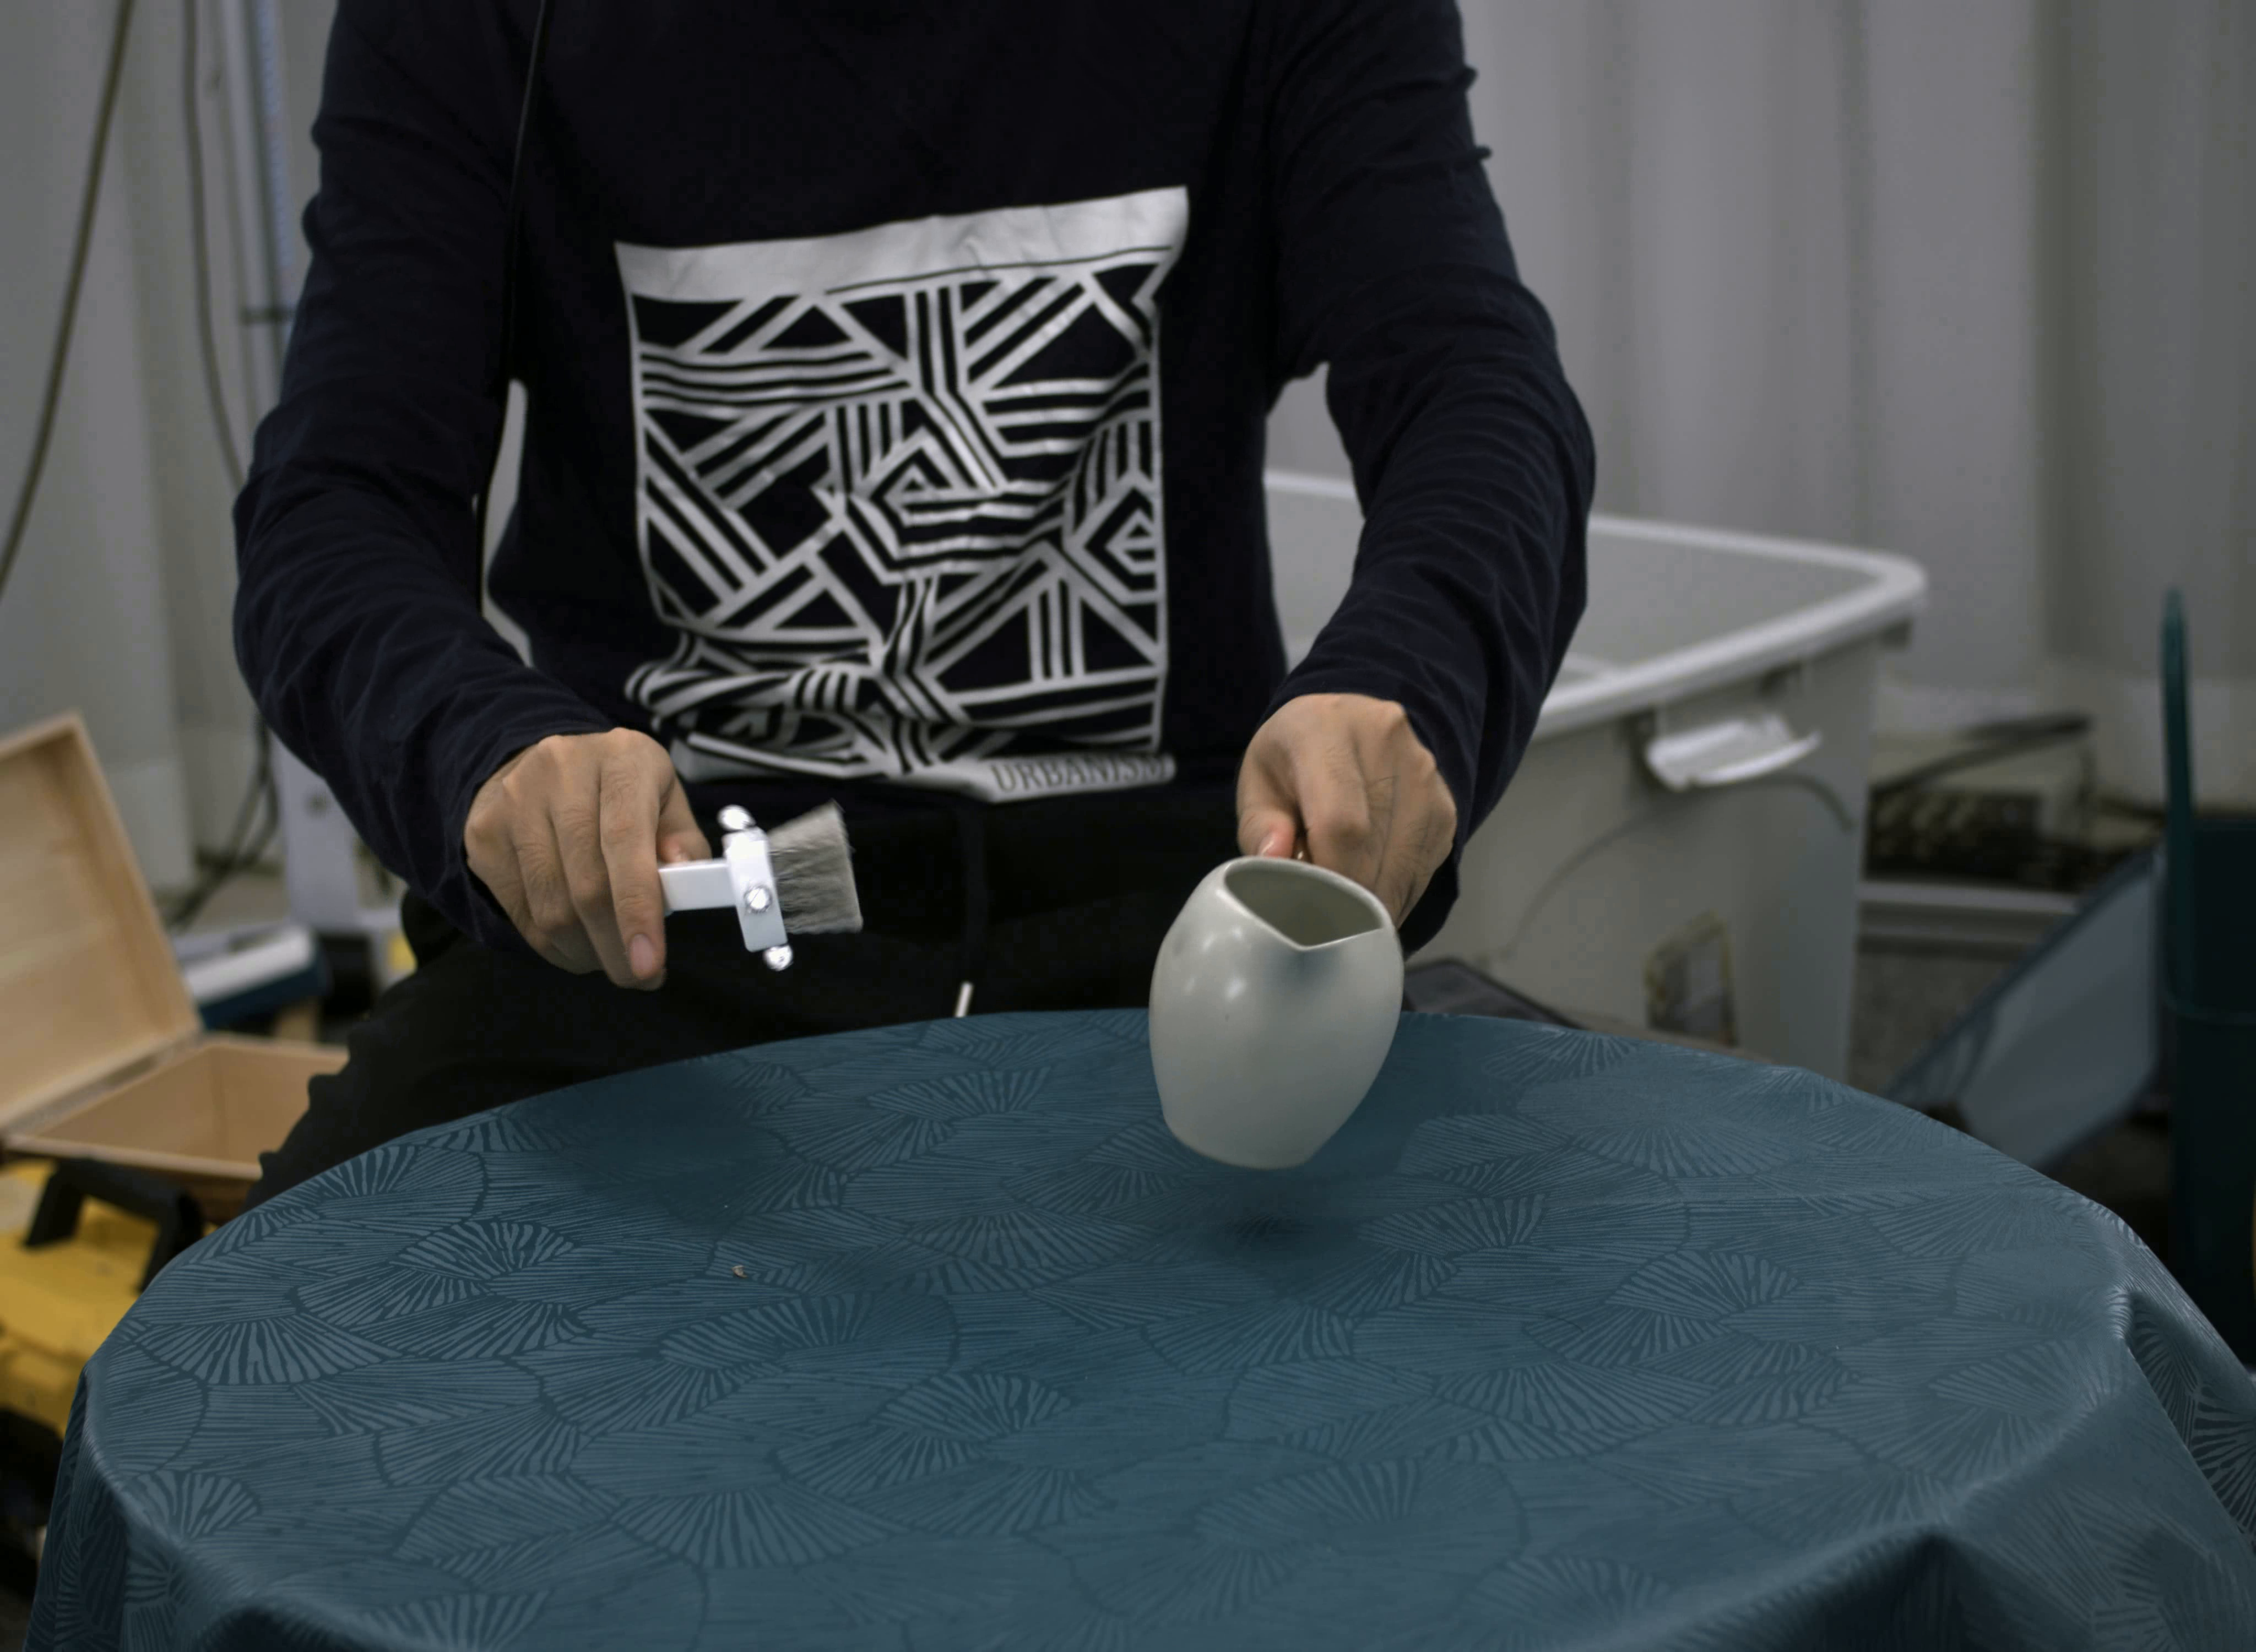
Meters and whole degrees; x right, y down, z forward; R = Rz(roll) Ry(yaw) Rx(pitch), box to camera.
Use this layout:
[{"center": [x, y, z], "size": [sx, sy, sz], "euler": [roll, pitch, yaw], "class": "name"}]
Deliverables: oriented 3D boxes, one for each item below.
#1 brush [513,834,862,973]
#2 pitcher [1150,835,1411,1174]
[{"center": [-0.137, 0.031, 1.729], "size": [0.050, 0.034, 0.244], "euler": [14, -10, -22], "class": "brush"}, {"center": [0.045, 0.054, 1.657], "size": [0.075, 0.087, 0.120], "euler": [20, 26, -1], "class": "pitcher"}]
